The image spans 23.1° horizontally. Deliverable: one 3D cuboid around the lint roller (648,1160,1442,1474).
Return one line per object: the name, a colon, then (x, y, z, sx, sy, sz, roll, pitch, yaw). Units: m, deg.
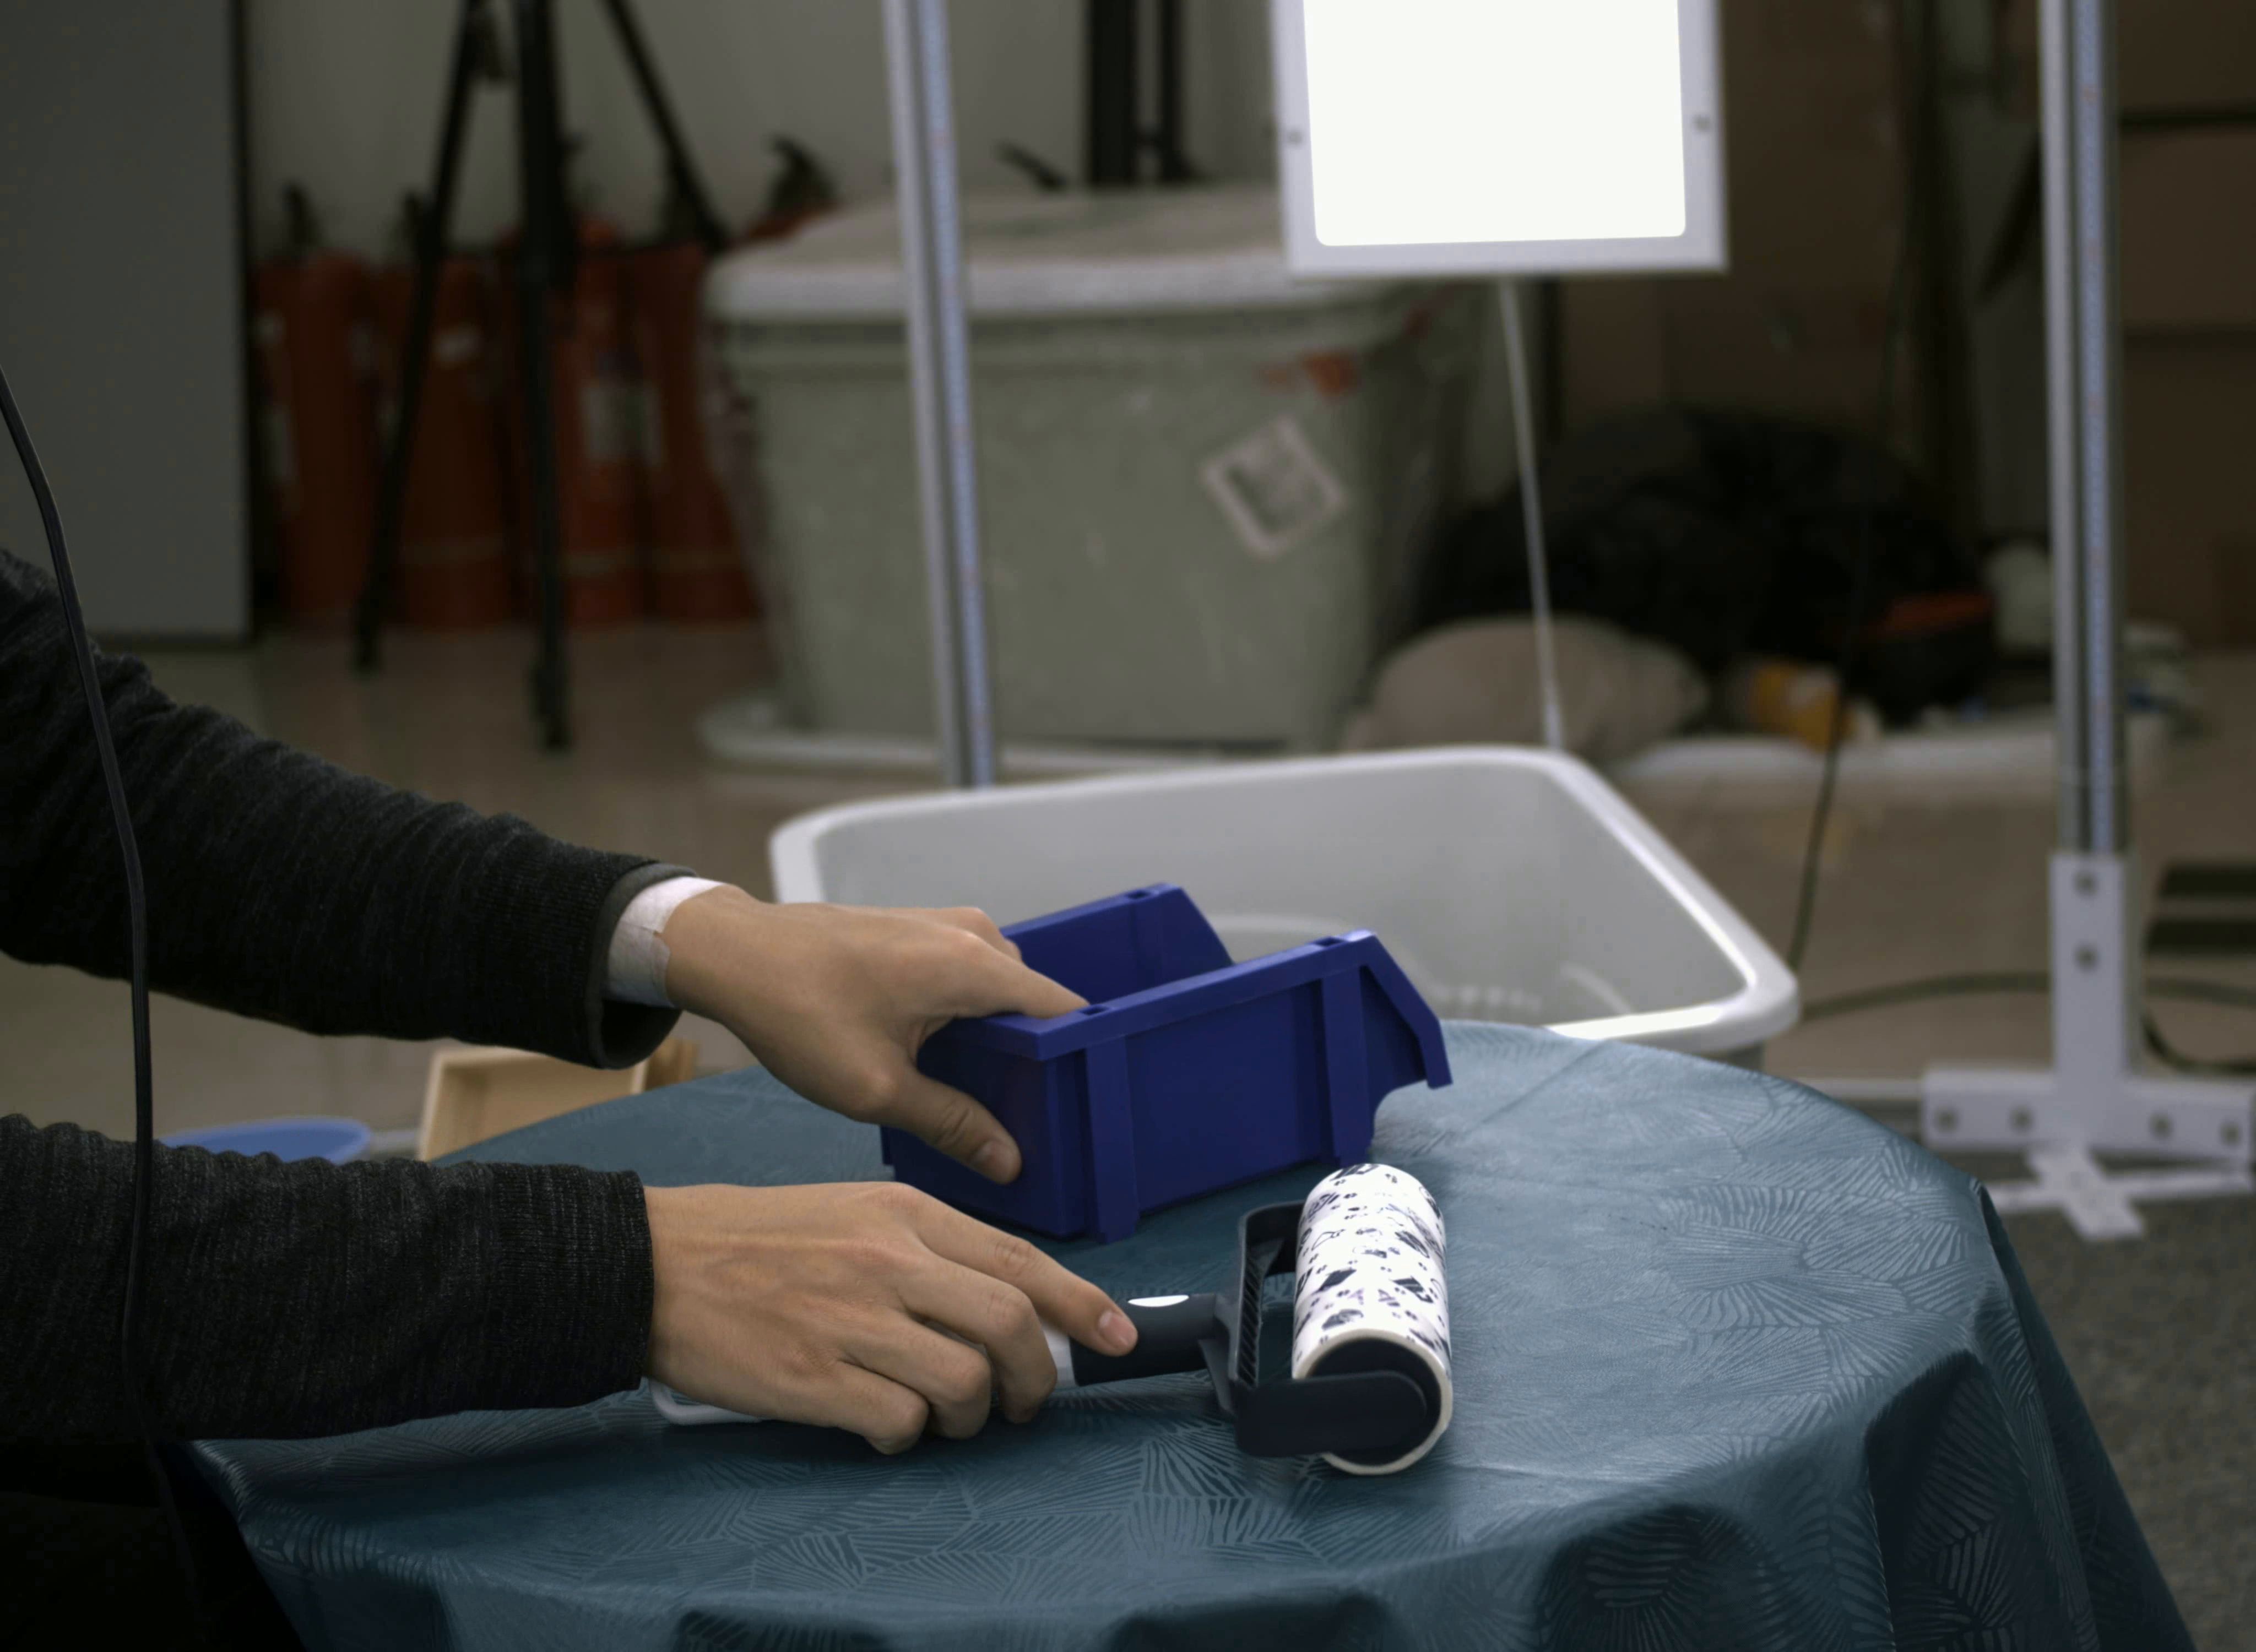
lint roller: (-0.026, 0.157, 1.689, 0.247, 0.050, 0.175, -5, 14, 5)

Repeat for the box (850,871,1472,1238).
box: (0.012, 0.076, 1.926, 0.175, 0.082, 0.127, -18, 18, -32)
